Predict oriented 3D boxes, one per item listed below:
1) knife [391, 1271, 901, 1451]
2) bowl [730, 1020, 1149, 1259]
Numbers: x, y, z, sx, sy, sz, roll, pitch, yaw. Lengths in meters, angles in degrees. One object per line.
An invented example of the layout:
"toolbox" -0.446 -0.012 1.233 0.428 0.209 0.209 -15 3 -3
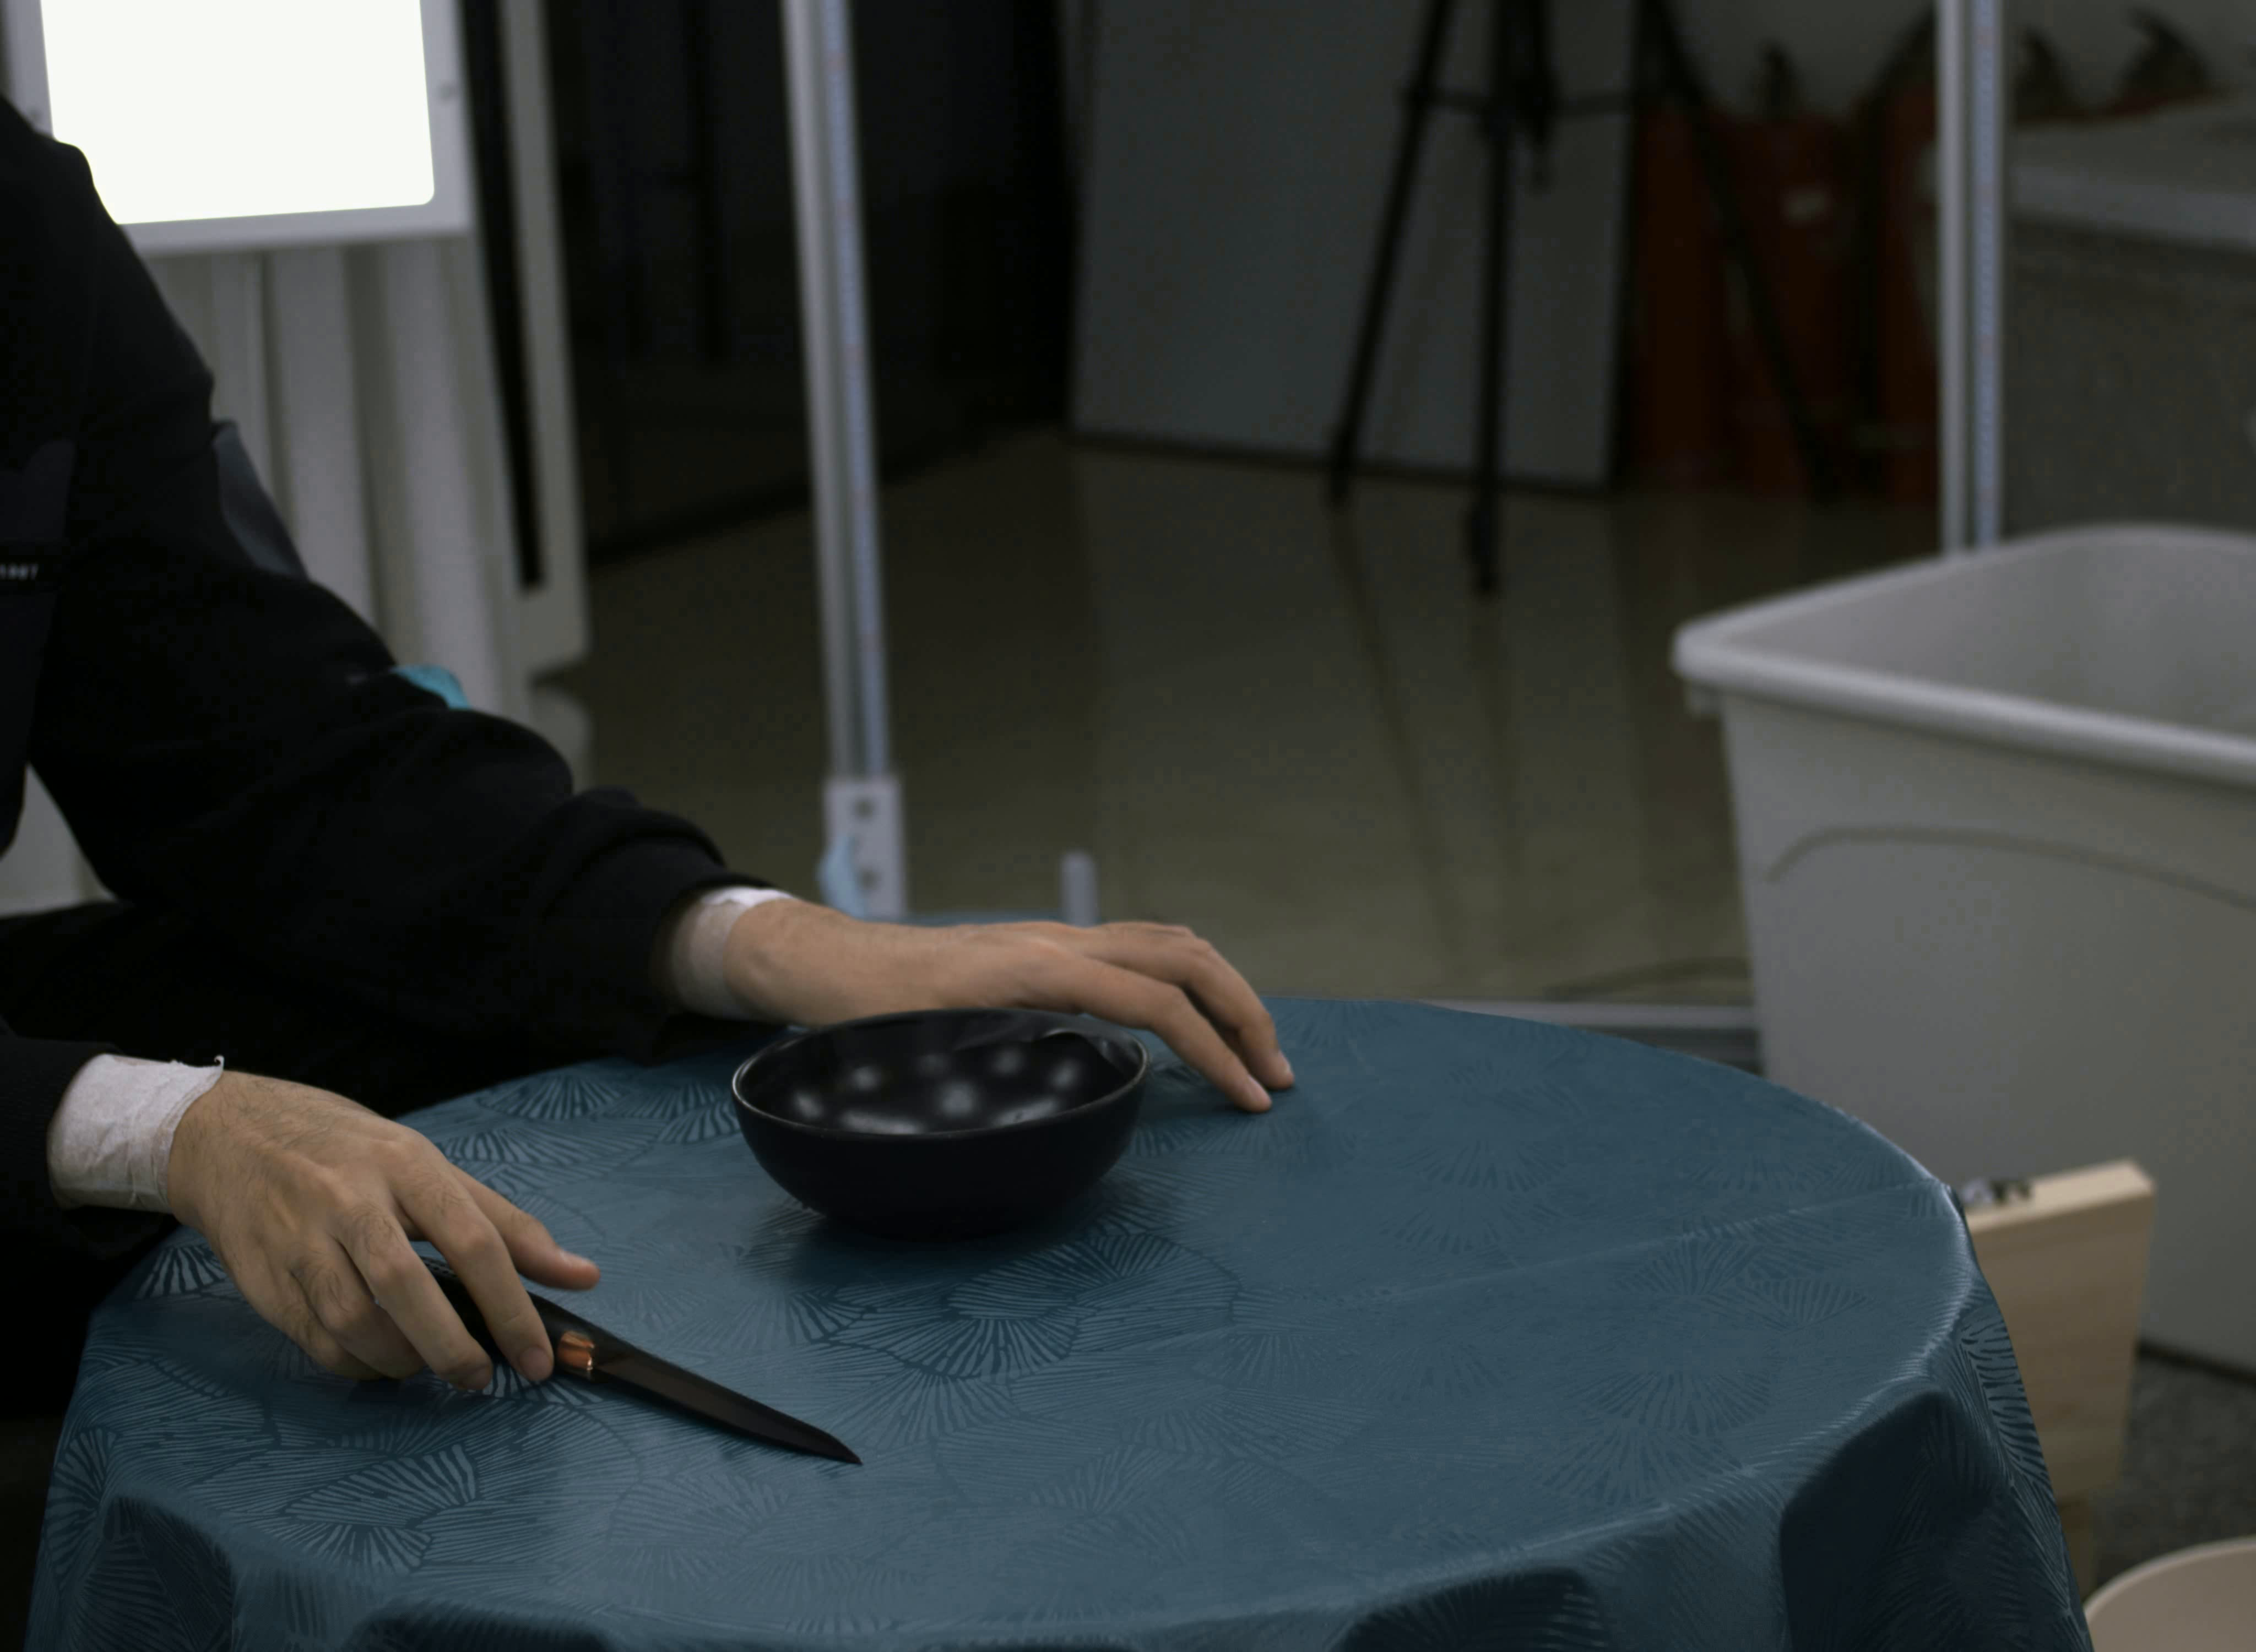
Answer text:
"knife" -0.148 0.162 1.624 0.025 0.017 0.228 -13 17 -42
"bowl" -0.058 0.106 1.758 0.138 0.050 0.140 -8 13 1
